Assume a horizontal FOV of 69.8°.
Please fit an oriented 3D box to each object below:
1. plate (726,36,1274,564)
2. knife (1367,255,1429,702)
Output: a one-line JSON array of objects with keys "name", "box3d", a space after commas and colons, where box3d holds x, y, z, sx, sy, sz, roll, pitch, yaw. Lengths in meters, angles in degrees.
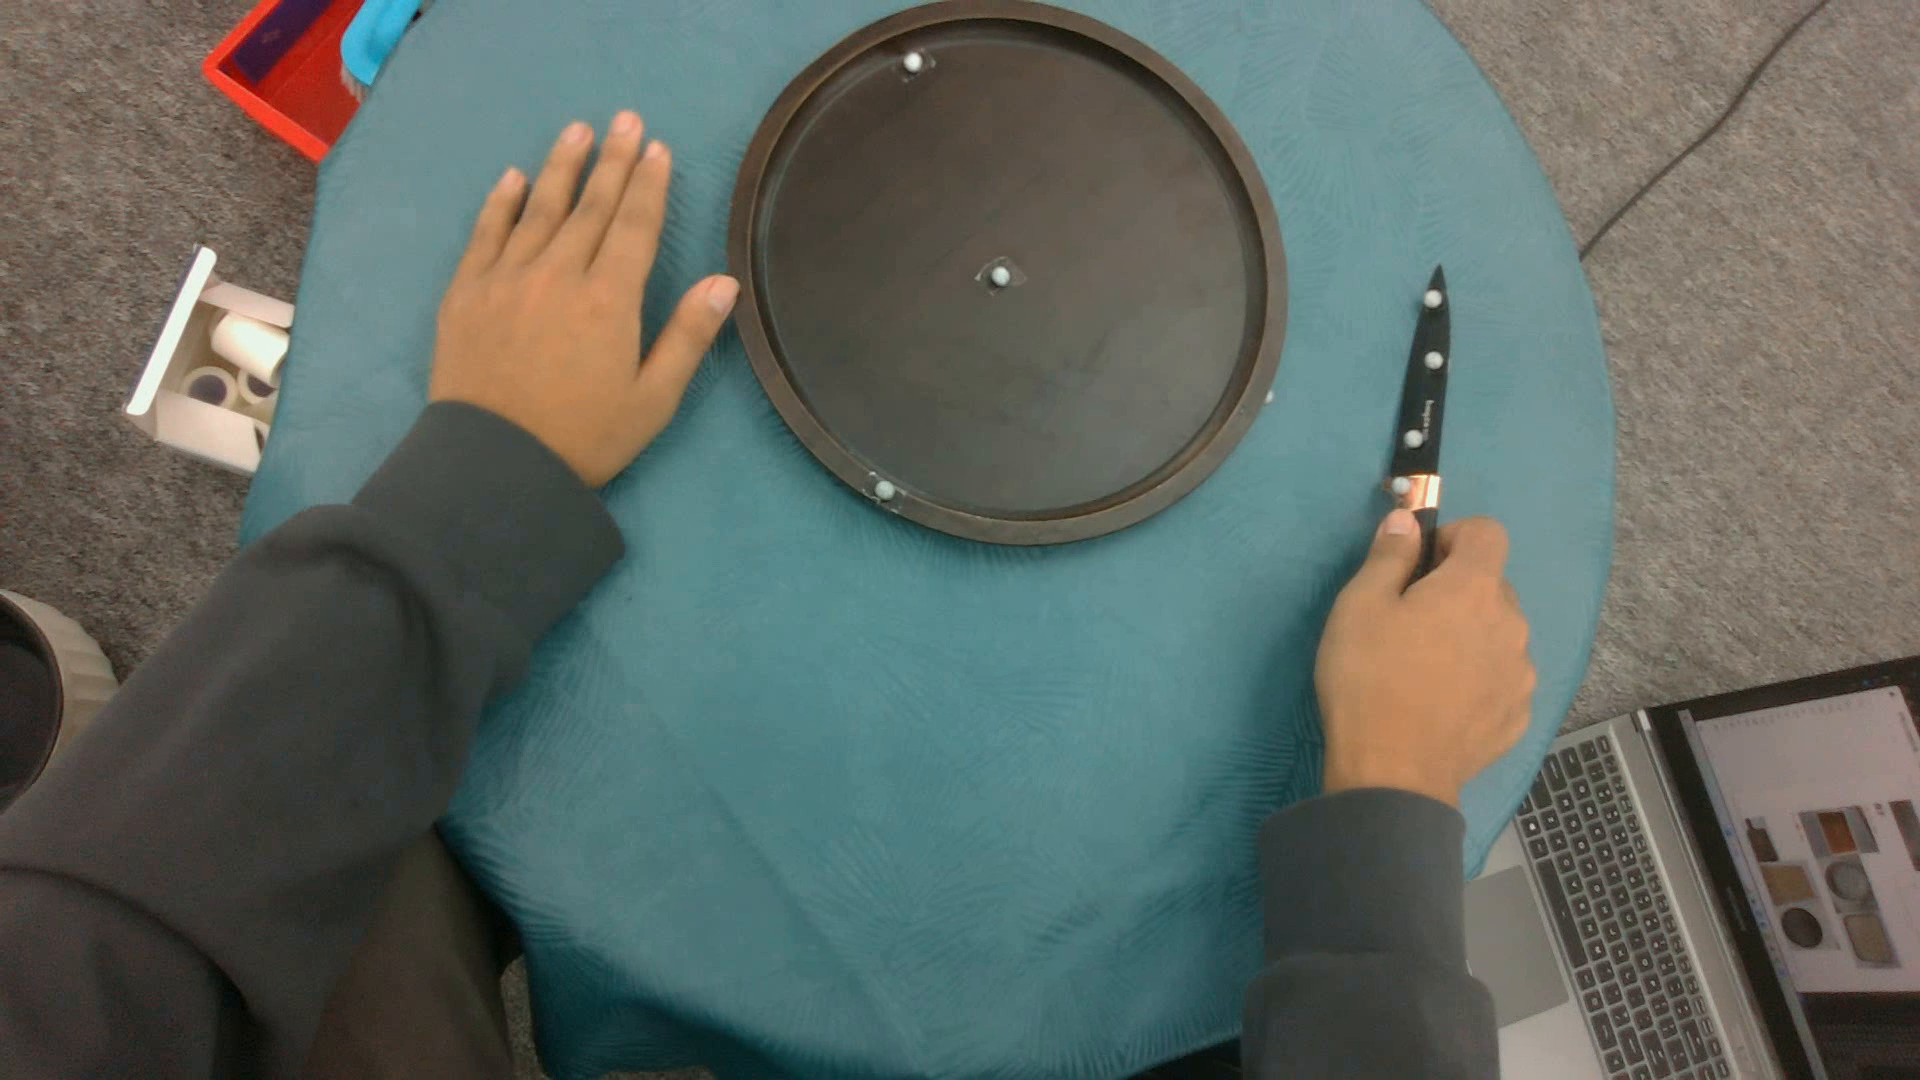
[{"name": "plate", "box3d": [0.021, -0.113, 0.632, 0.255, 0.029, 0.255, 2, 79, -9]}, {"name": "knife", "box3d": [0.206, -0.035, 0.644, 0.026, 0.017, 0.226, -5, 68, 36]}]
